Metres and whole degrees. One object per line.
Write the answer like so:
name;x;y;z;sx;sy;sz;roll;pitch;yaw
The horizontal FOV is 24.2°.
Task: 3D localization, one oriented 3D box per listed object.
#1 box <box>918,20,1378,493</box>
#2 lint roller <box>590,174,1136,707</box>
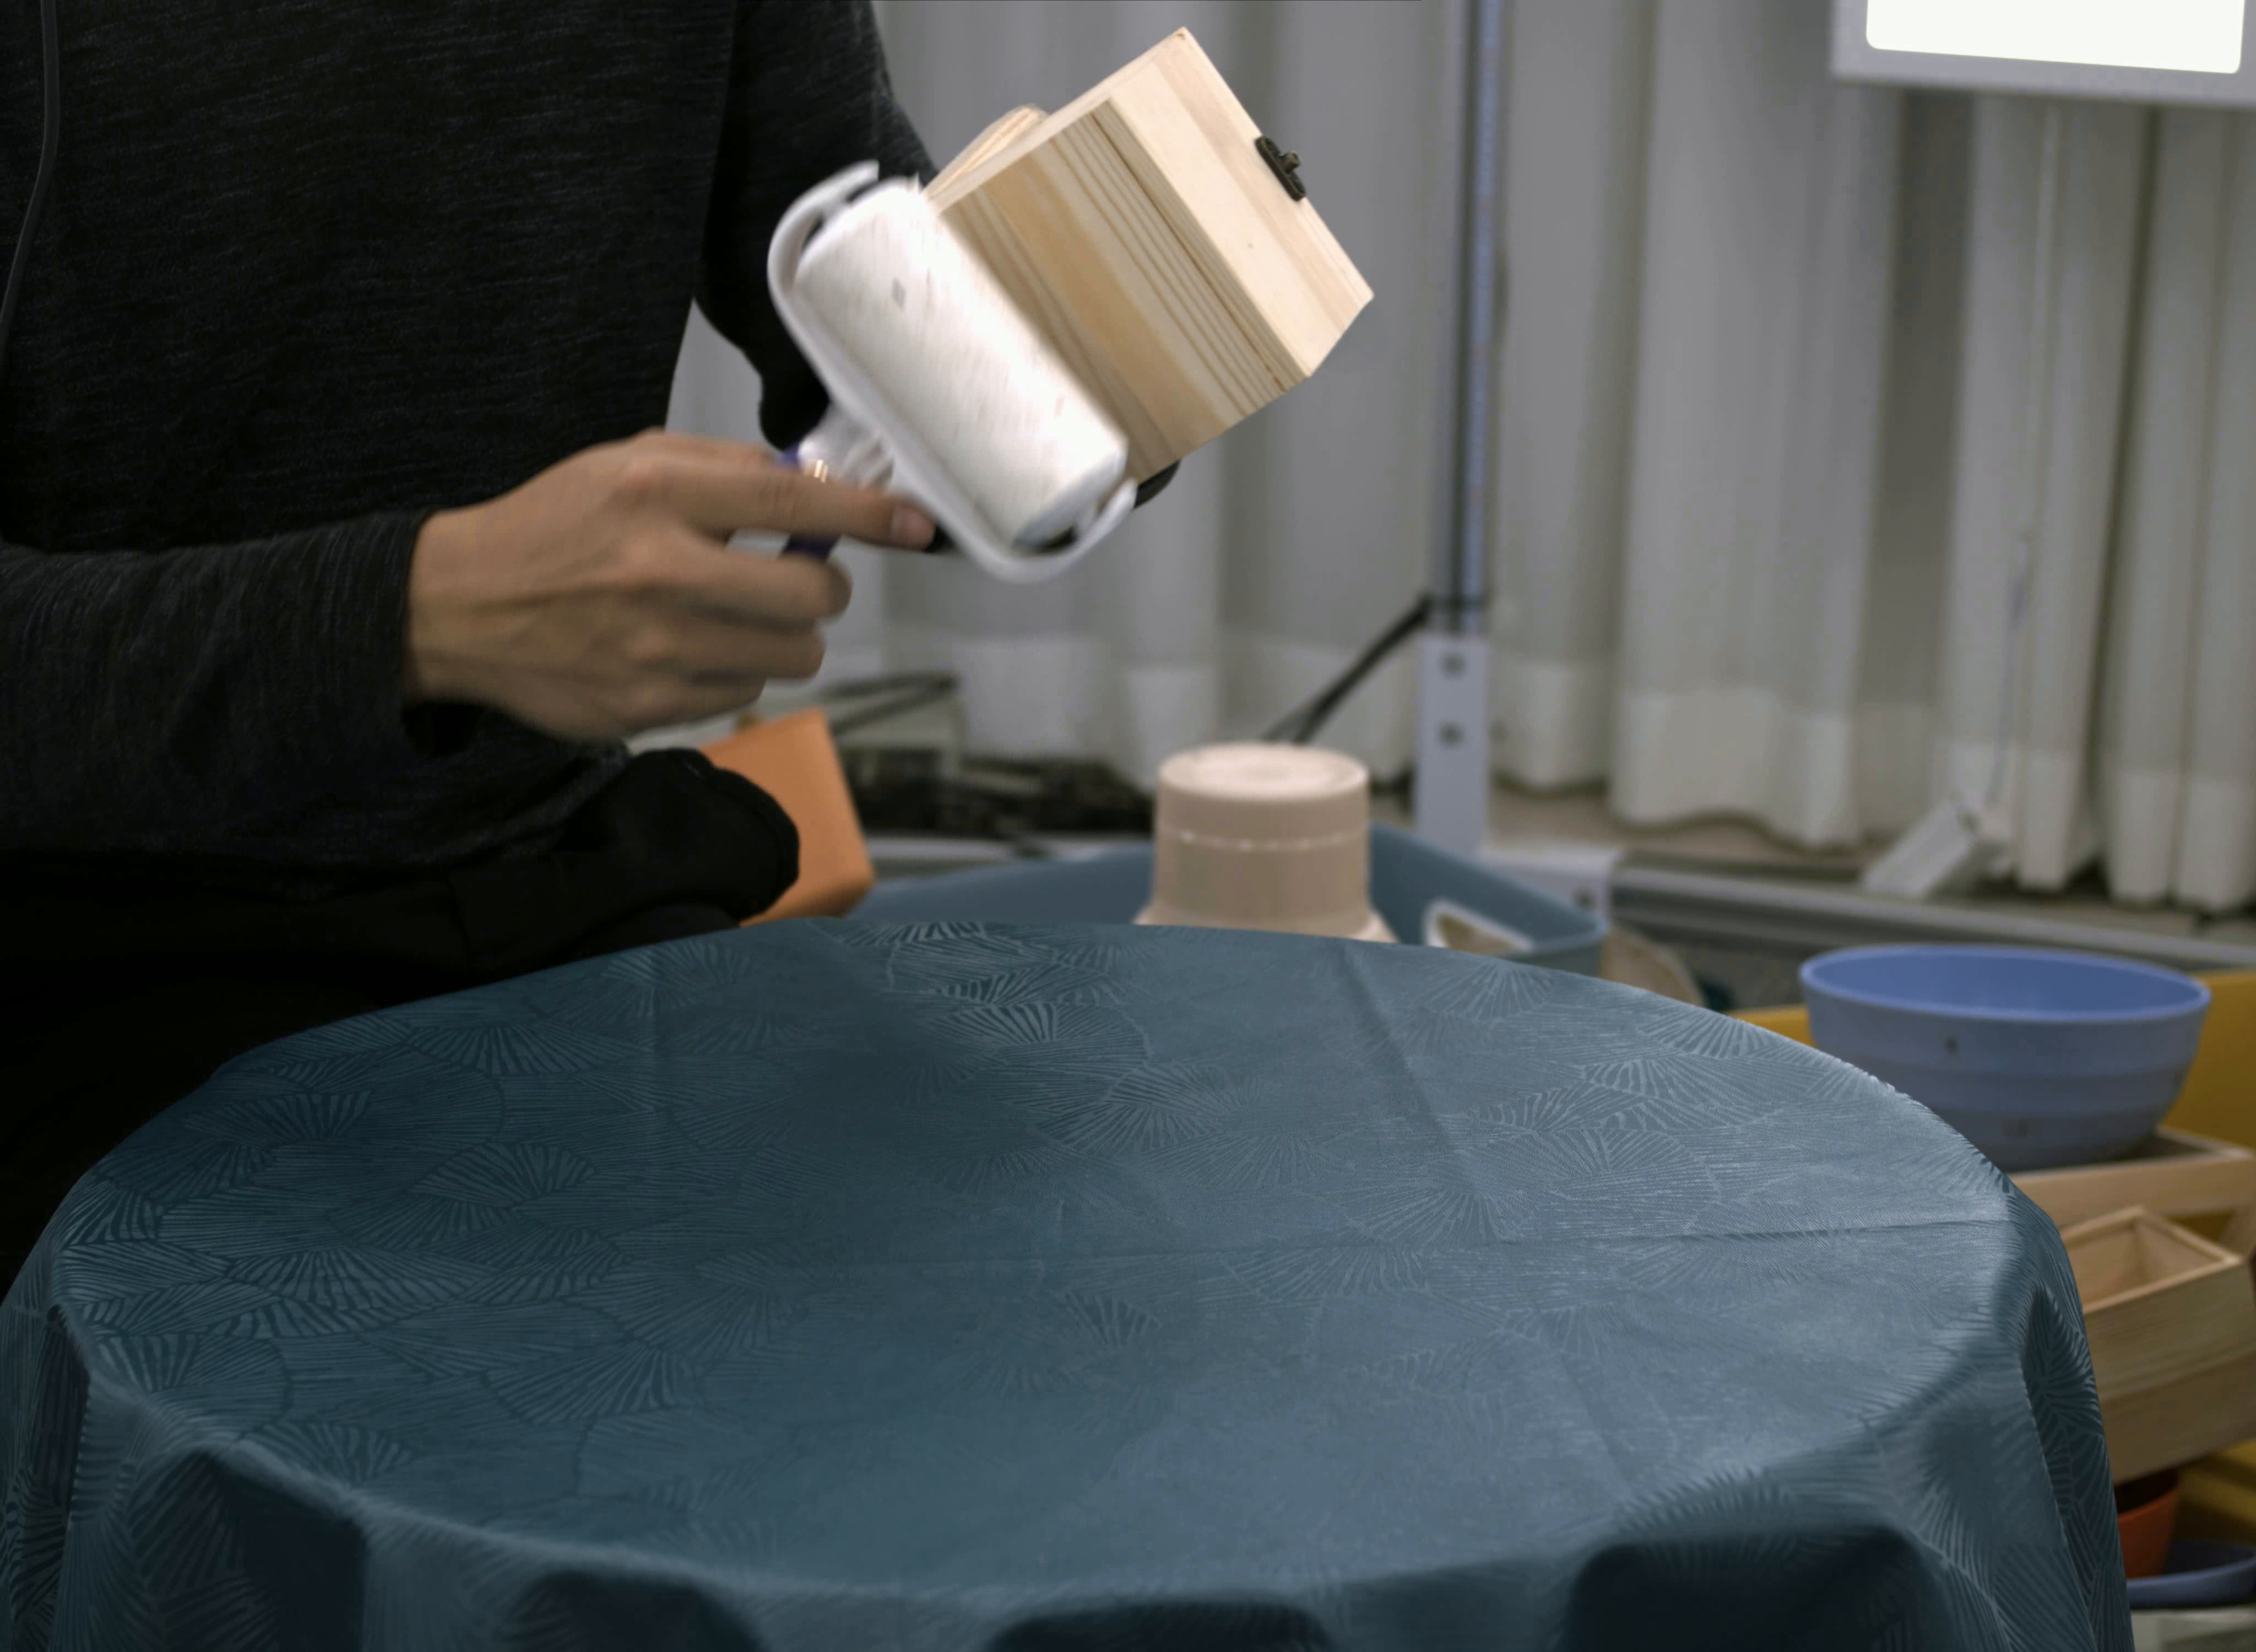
box;0.006;-0.181;1.624;0.133;0.103;0.184;-31;11;27
lint roller;-0.098;-0.092;1.532;0.180;0.133;0.050;-37;3;18
